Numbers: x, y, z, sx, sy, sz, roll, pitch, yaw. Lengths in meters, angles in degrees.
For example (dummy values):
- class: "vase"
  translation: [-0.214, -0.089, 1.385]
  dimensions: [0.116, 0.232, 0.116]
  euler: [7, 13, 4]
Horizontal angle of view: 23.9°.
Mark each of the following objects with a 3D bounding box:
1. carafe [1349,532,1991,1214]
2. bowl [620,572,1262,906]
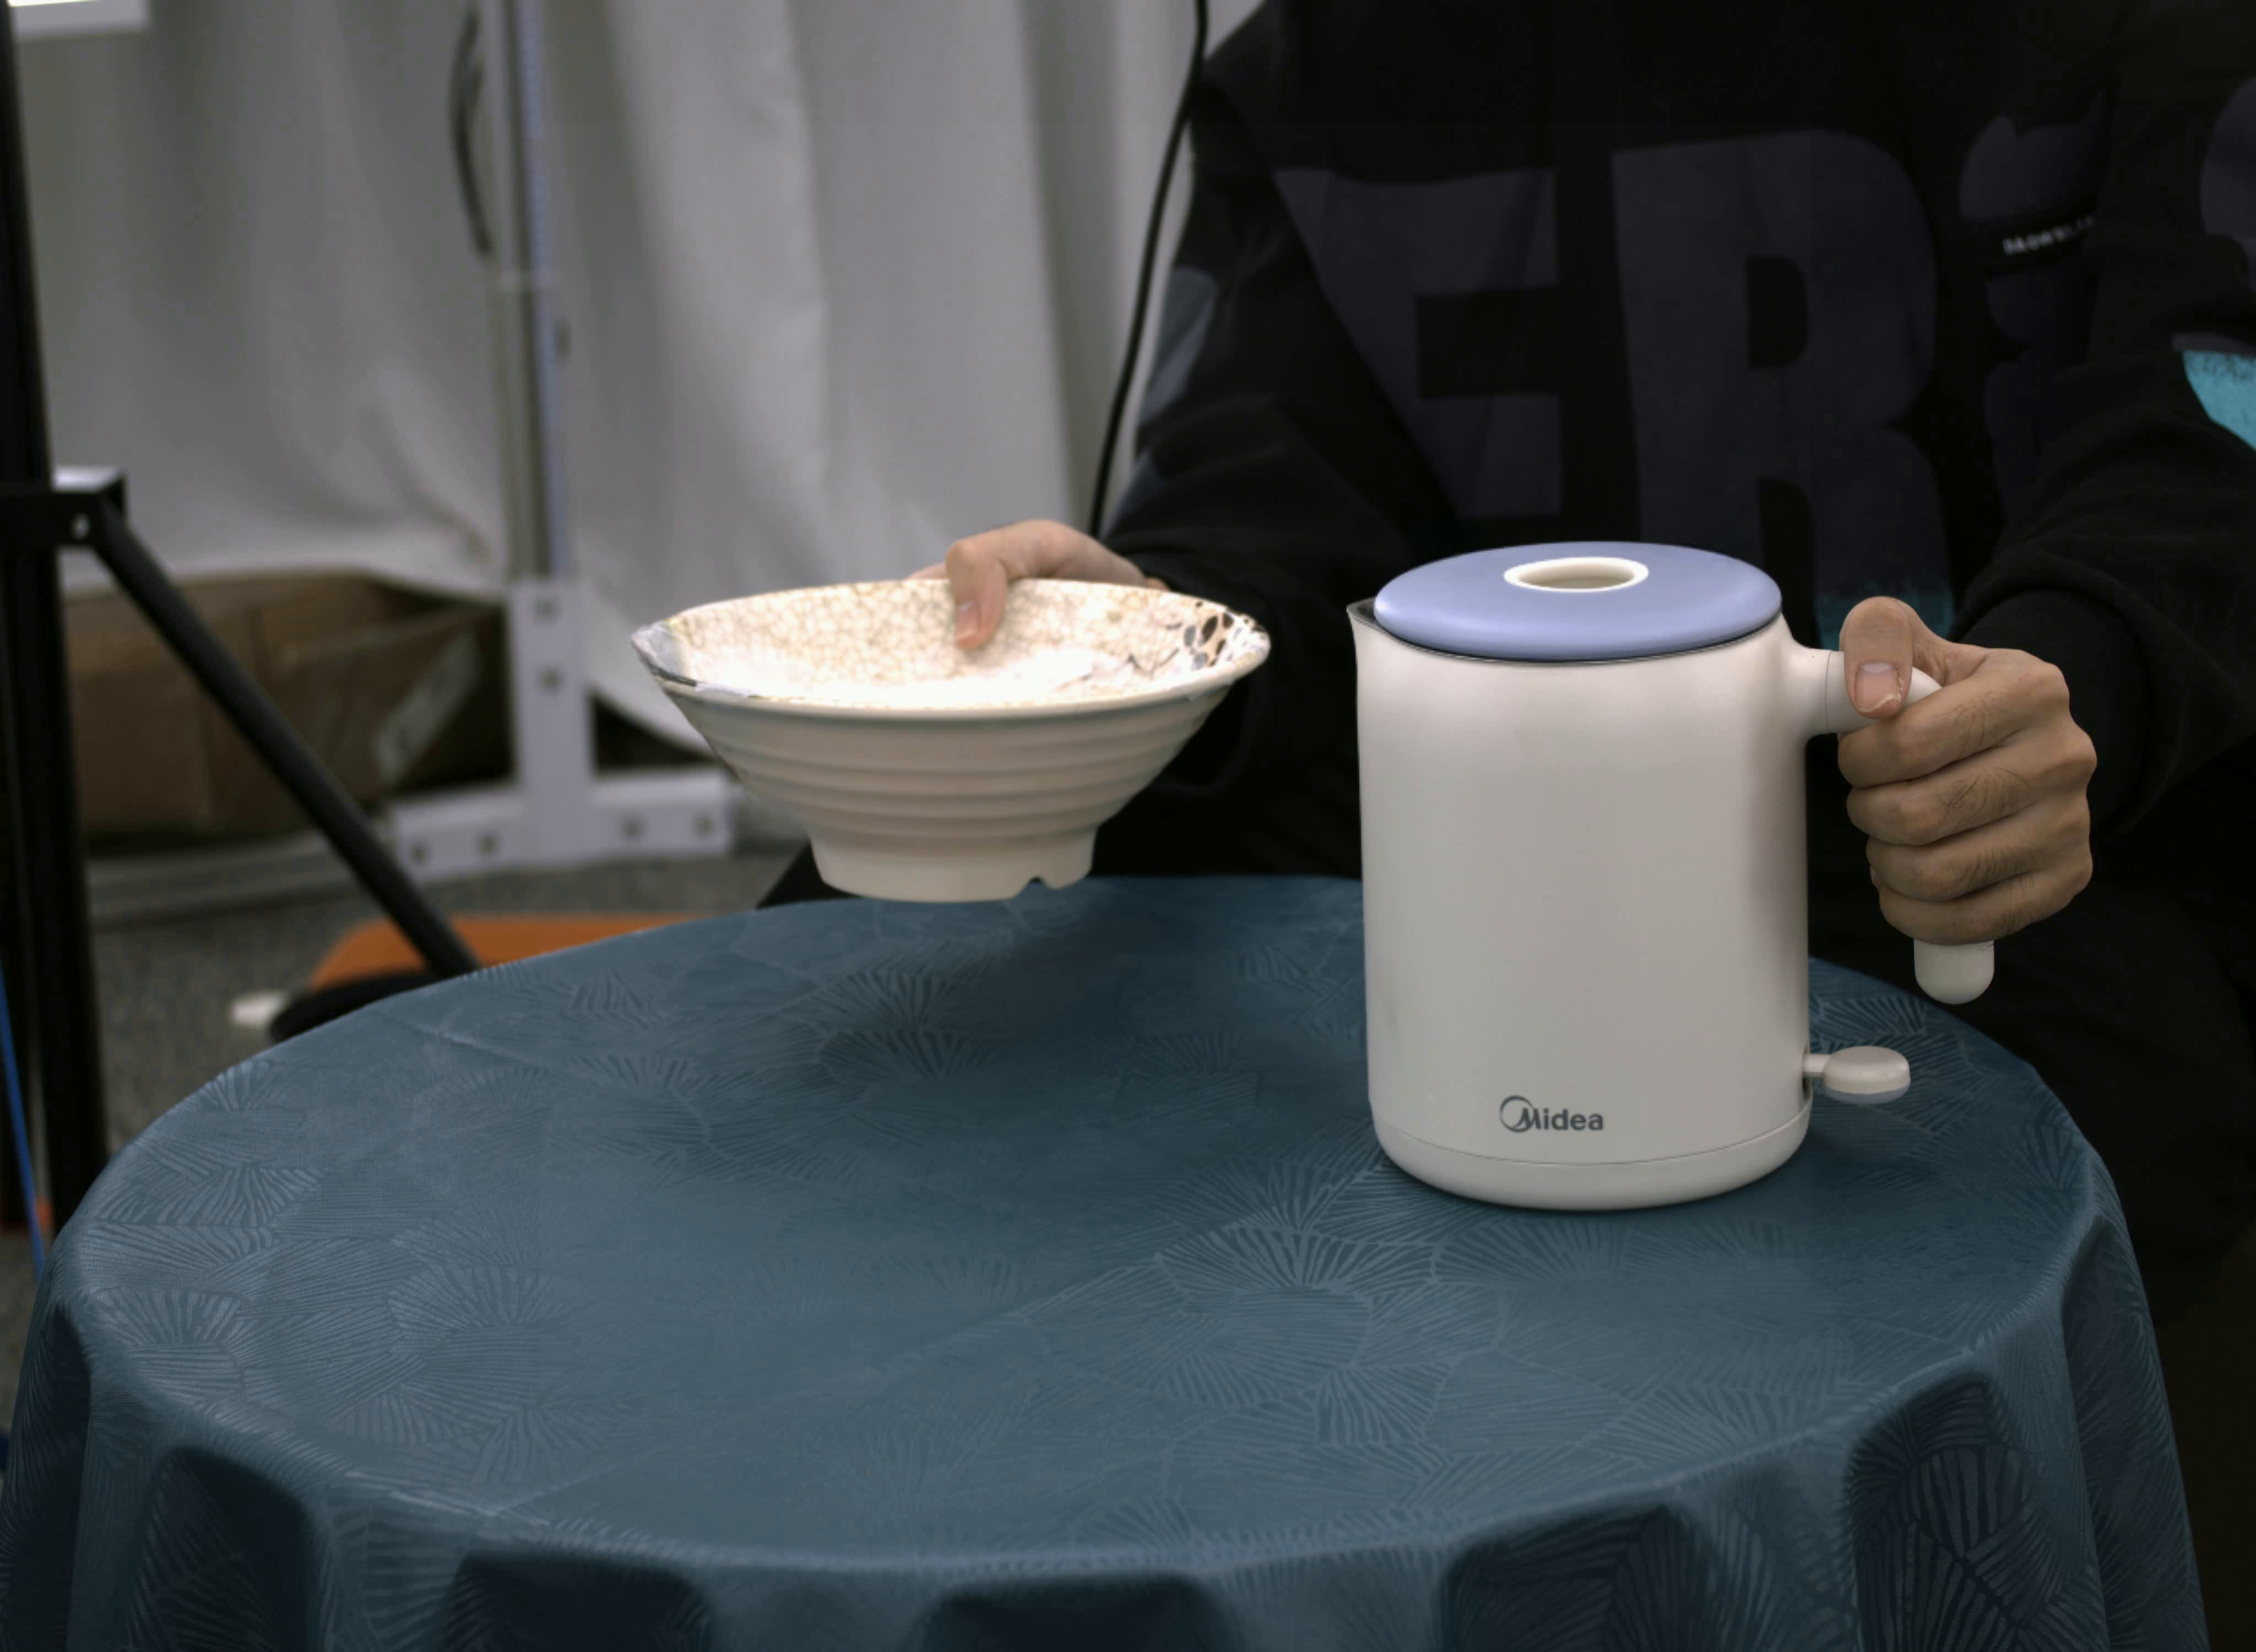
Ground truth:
- class: "carafe"
  translation: [0.157, 0.015, 1.548]
  dimensions: [0.192, 0.182, 0.131]
  euler: [4, 17, 14]
- class: "bowl"
  translation: [-0.059, -0.023, 1.692]
  dimensions: [0.203, 0.078, 0.205]
  euler: [0, 14, -1]
